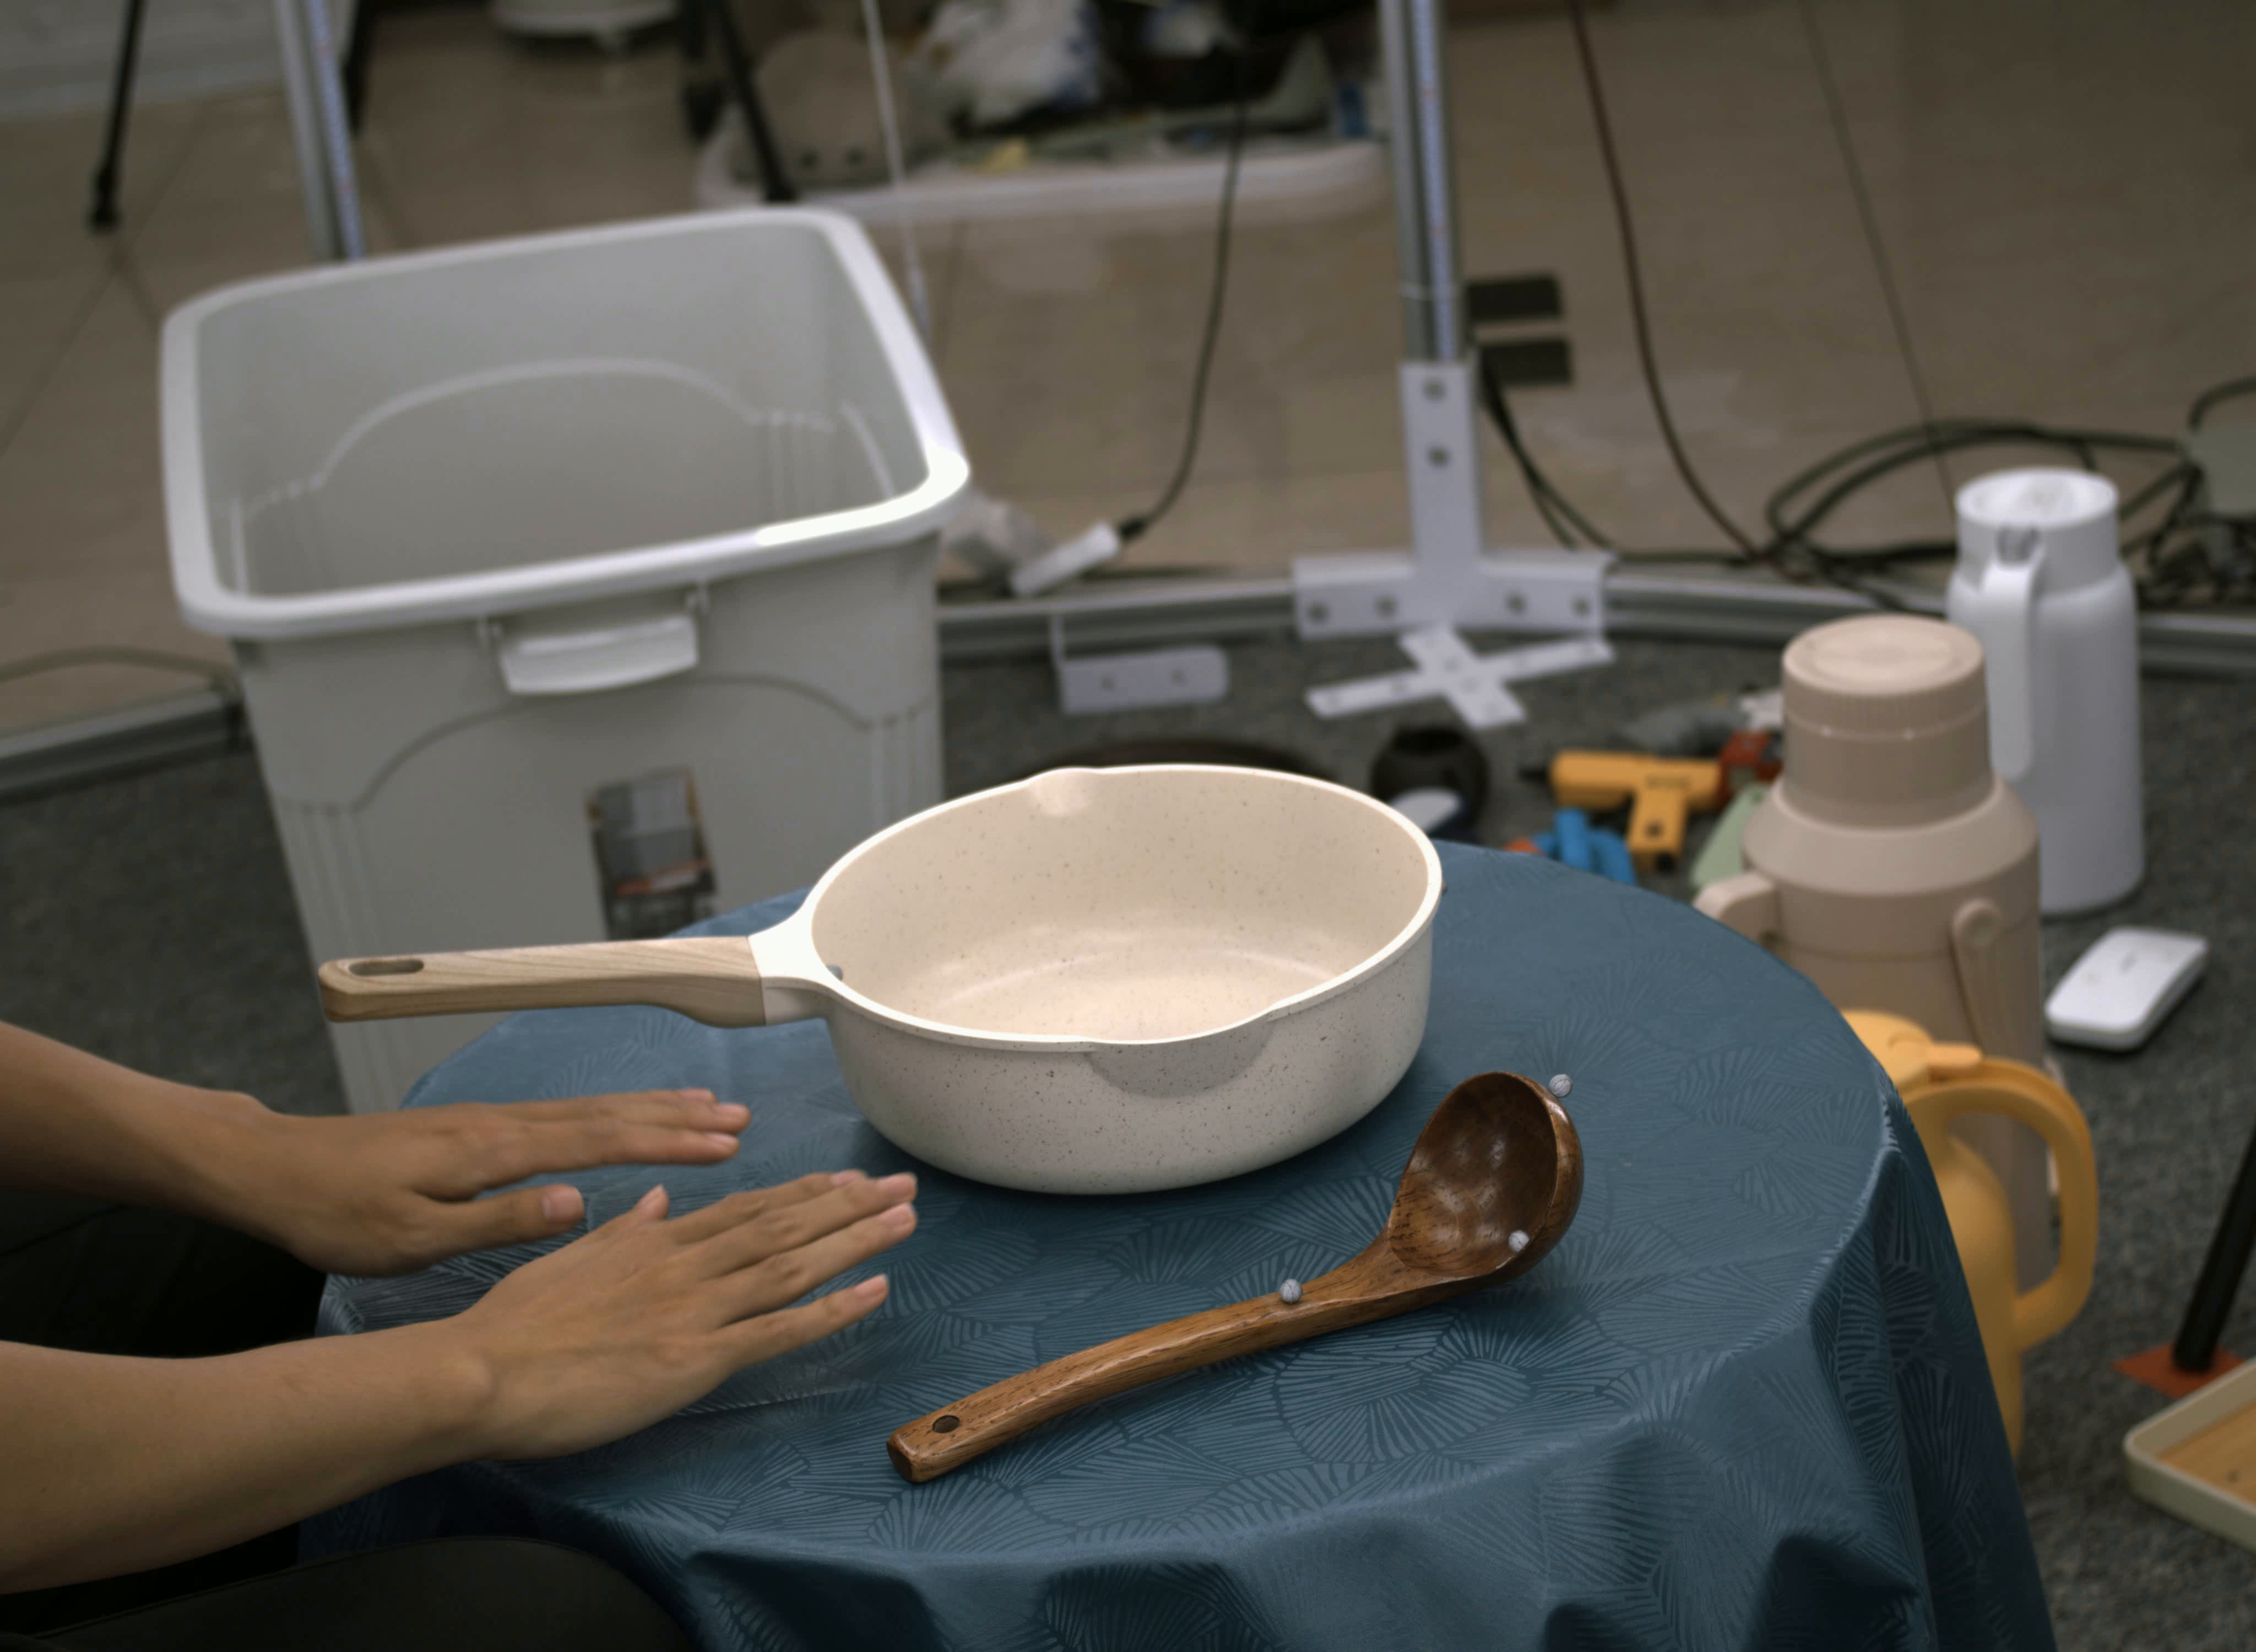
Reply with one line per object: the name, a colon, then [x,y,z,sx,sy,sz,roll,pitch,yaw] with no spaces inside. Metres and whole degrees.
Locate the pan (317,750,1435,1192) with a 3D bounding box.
pan: [-0.092,0.069,2.205,0.434,0.103,0.259,-10,27,-8]

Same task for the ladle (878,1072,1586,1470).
ladle: [0.038,0.157,2.011,0.273,0.078,0.081,-15,29,-21]
